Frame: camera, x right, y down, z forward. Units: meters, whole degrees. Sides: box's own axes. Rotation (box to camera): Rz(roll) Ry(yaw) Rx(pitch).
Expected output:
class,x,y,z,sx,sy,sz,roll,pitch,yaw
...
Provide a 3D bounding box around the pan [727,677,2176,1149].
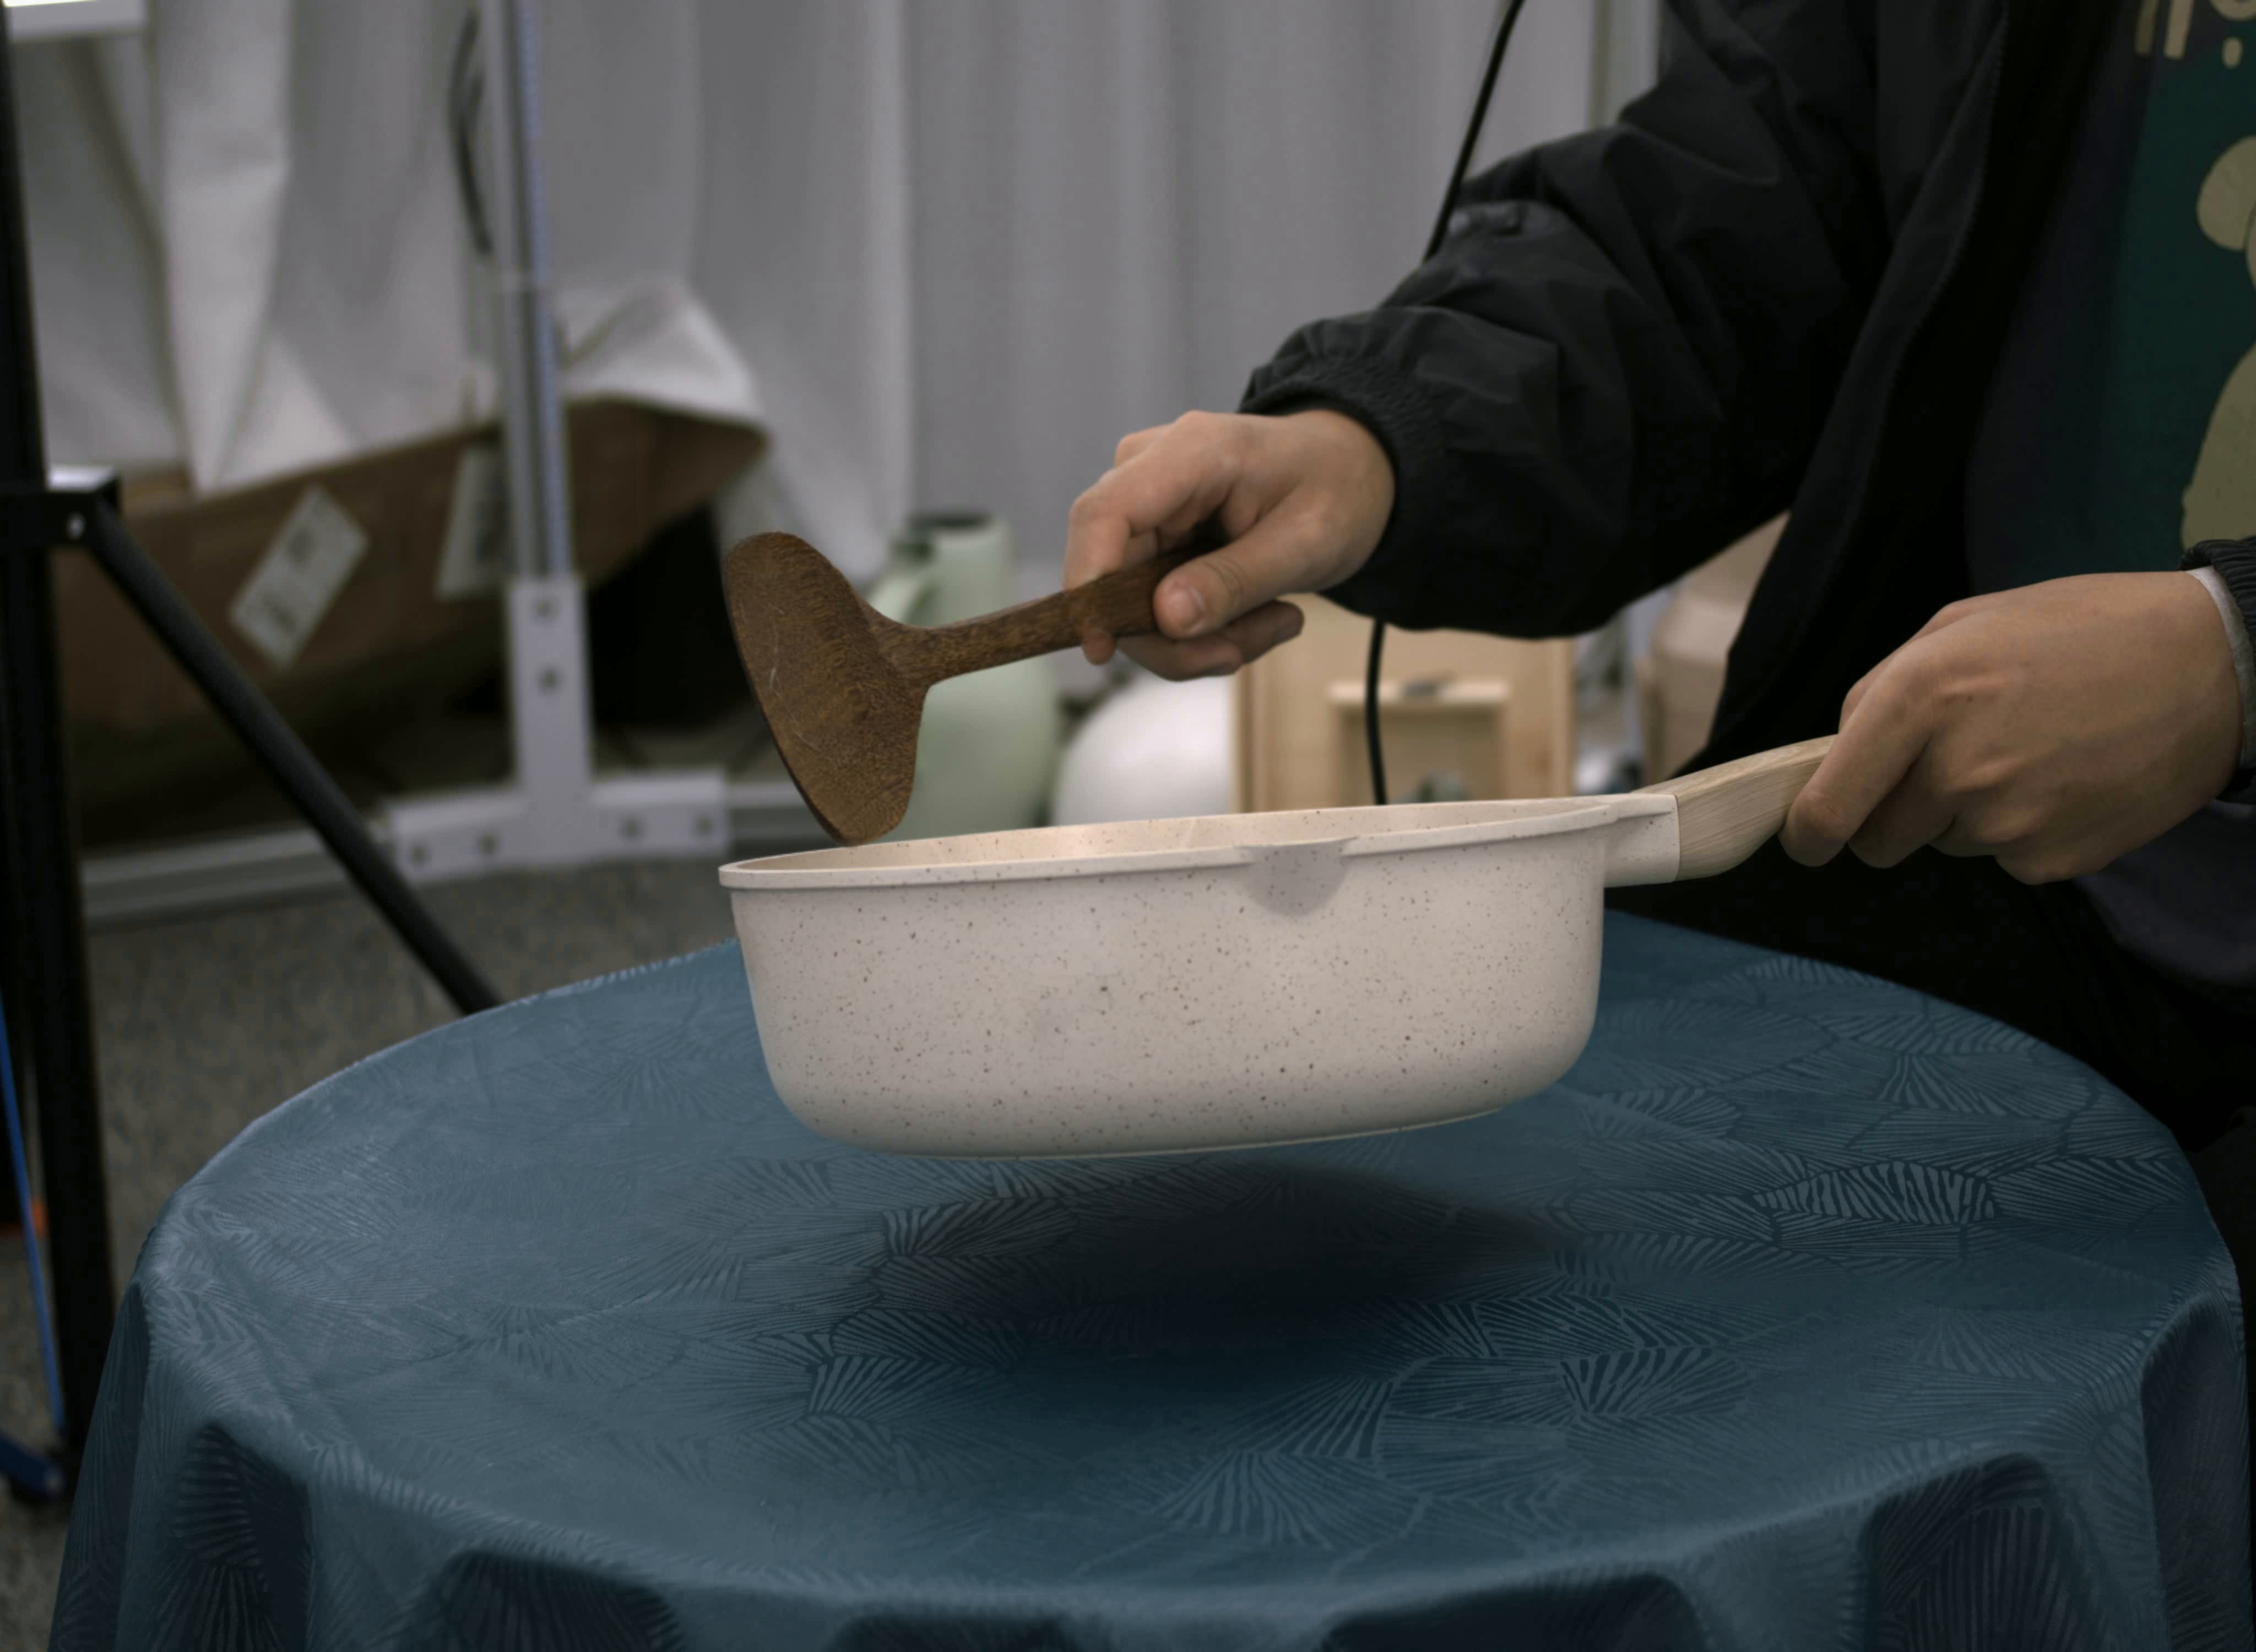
class,x,y,z,sx,sy,sz,roll,pitch,yaw
pan,0.104,0.026,1.496,0.428,0.102,0.266,-5,0,-14

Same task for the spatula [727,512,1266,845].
class,x,y,z,sx,sy,sz,roll,pitch,yaw
spatula,-0.028,-0.061,1.602,0.016,0.096,0.379,-21,-1,24
